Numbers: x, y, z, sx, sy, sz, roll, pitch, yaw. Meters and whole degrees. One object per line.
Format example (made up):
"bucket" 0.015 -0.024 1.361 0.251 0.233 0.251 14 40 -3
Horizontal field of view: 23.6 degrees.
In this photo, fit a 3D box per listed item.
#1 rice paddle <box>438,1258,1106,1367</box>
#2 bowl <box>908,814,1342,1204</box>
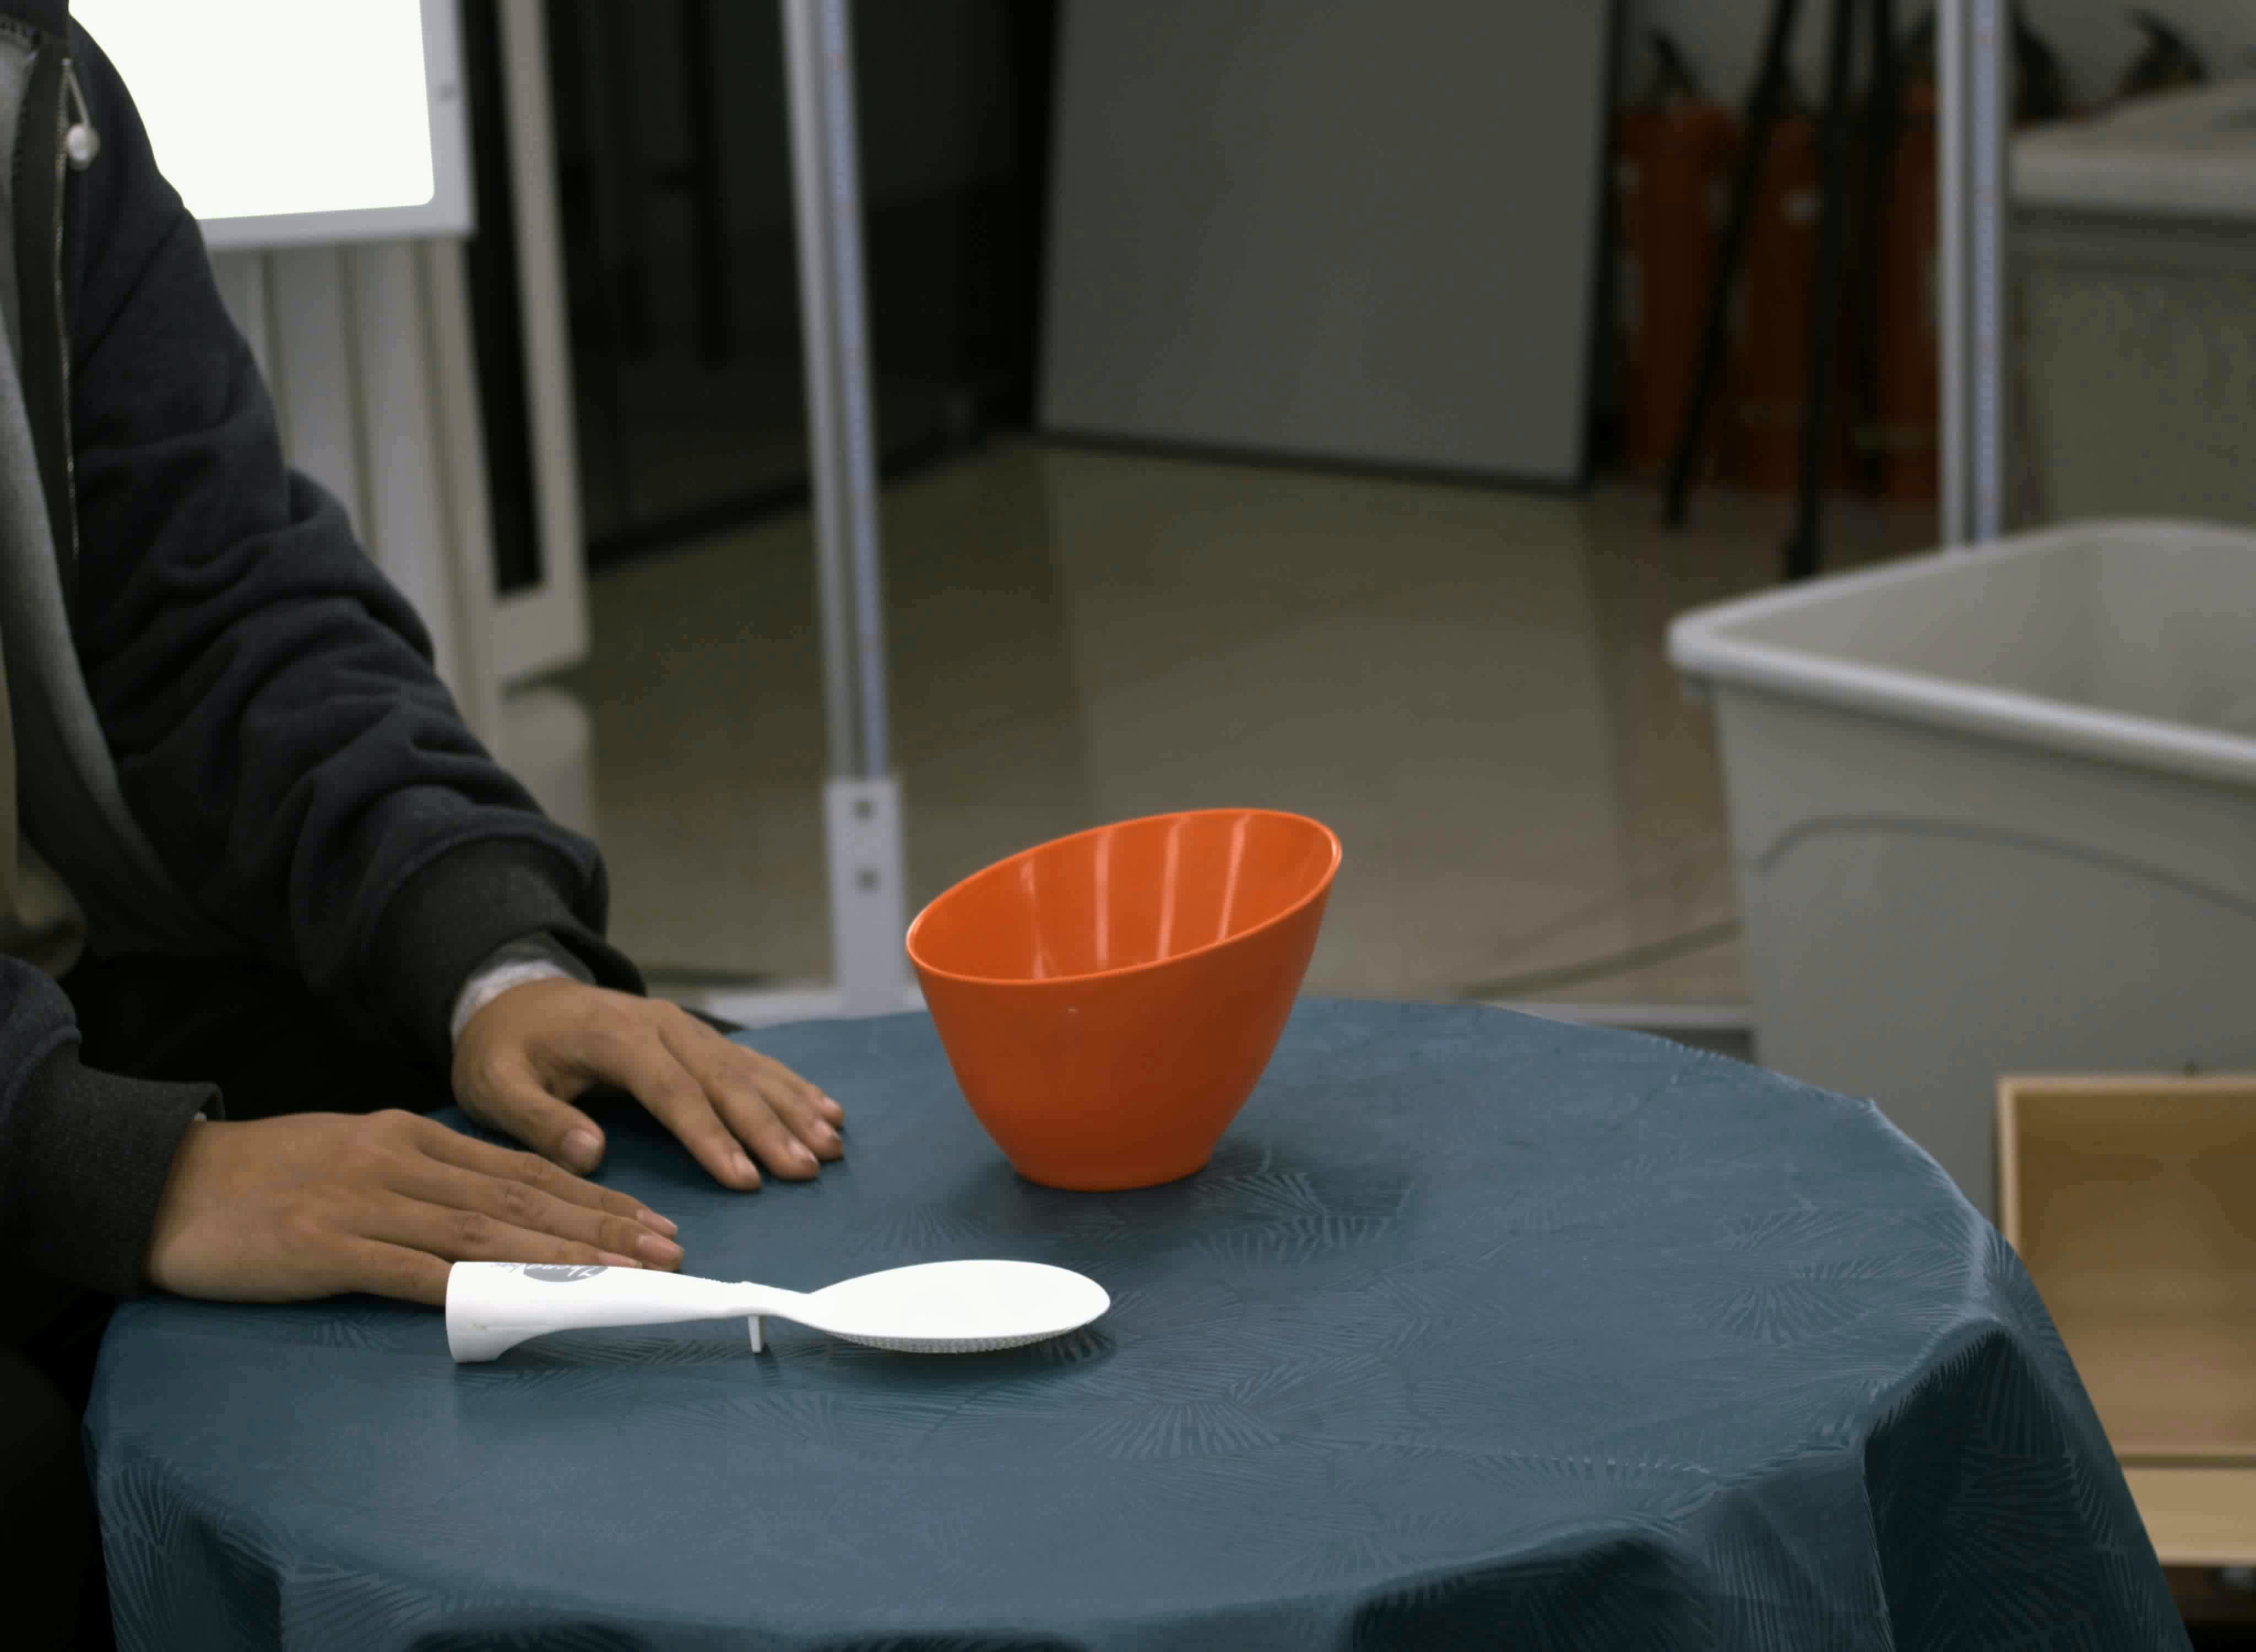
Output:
"rice paddle" -0.107 0.145 1.639 0.203 0.030 0.068 -2 15 7
"bowl" 0.003 0.064 1.792 0.146 0.106 0.148 -5 14 0
